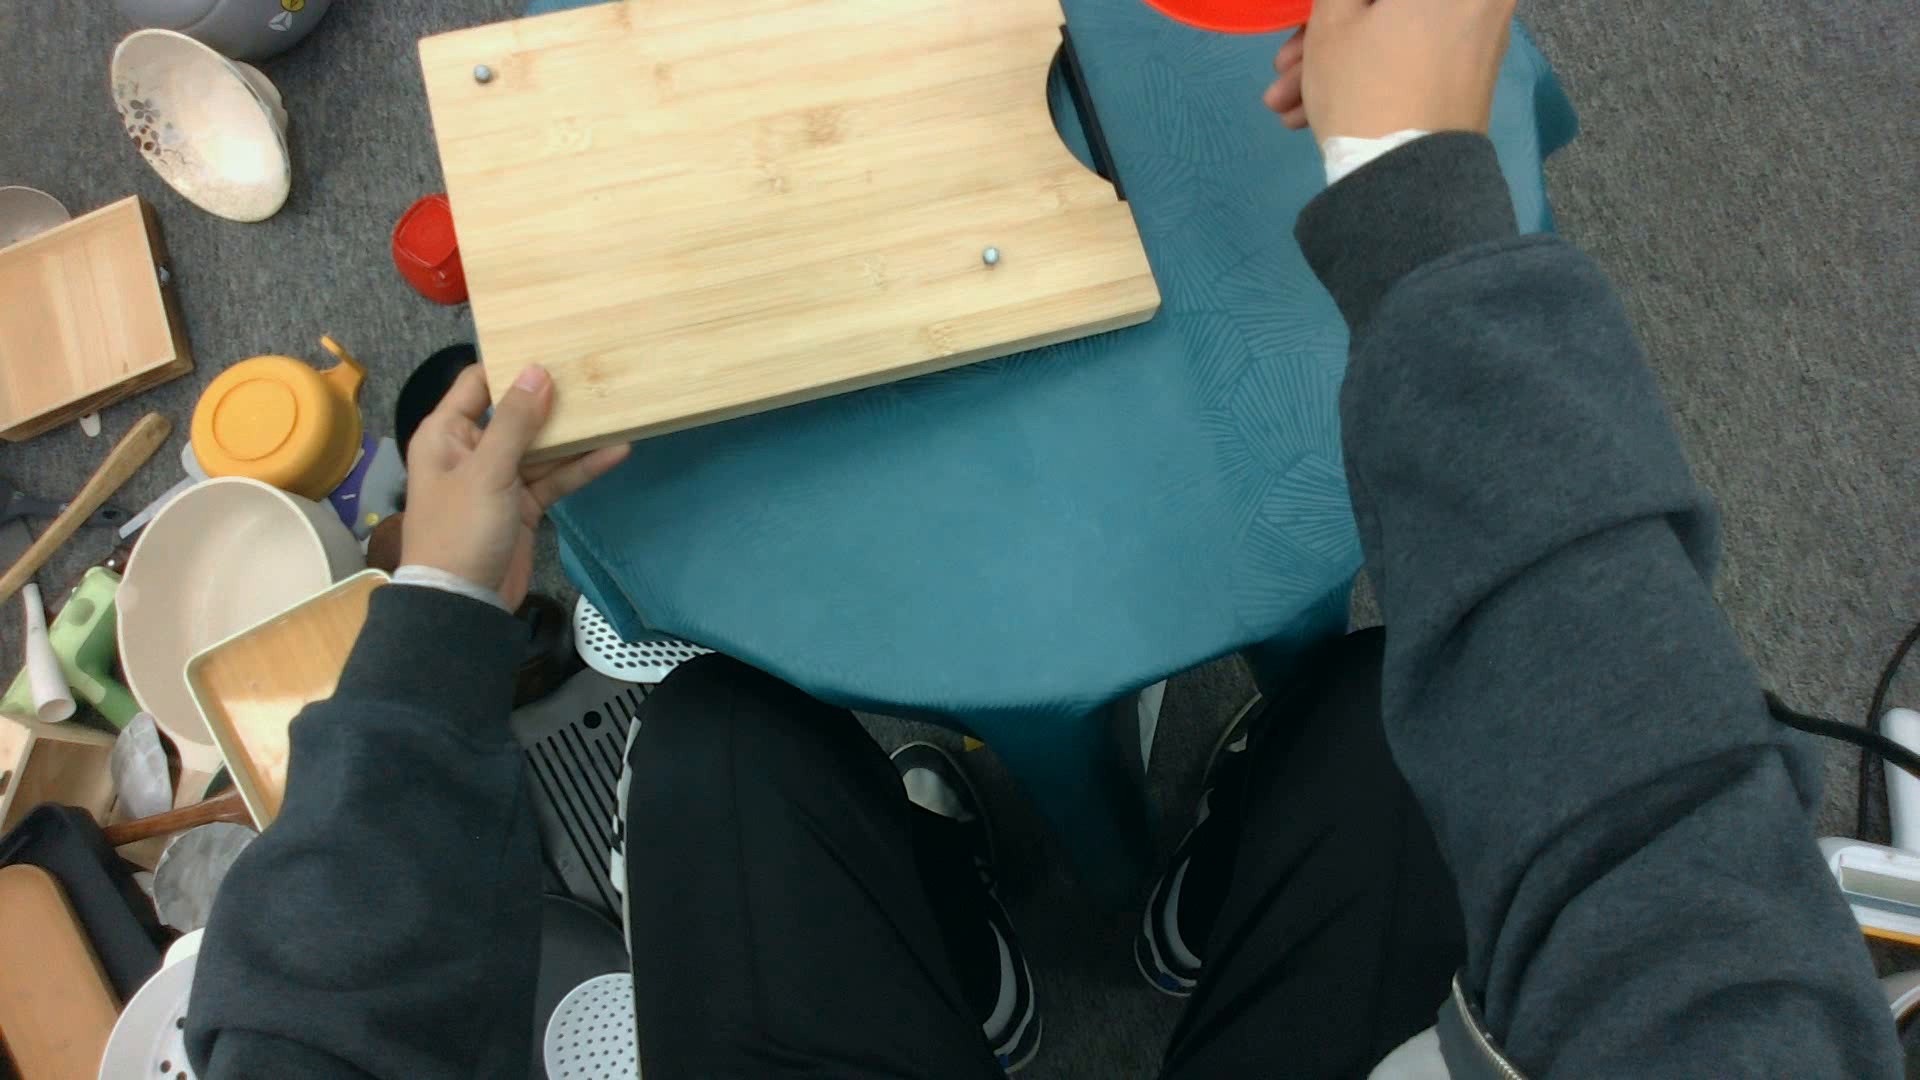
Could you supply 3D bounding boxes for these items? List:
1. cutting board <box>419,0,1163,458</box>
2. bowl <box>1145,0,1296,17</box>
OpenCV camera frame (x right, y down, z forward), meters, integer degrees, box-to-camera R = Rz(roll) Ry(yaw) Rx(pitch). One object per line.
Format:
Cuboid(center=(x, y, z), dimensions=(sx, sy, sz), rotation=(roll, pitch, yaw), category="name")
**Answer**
Cuboid(center=(-0.093, -0.195, 0.730), dimensions=(0.349, 0.023, 0.251), rotation=(-15, 75, -10), category="cutting board")
Cuboid(center=(0.125, -0.298, 0.589), dimensions=(0.148, 0.105, 0.147), rotation=(7, 106, 25), category="bowl")
